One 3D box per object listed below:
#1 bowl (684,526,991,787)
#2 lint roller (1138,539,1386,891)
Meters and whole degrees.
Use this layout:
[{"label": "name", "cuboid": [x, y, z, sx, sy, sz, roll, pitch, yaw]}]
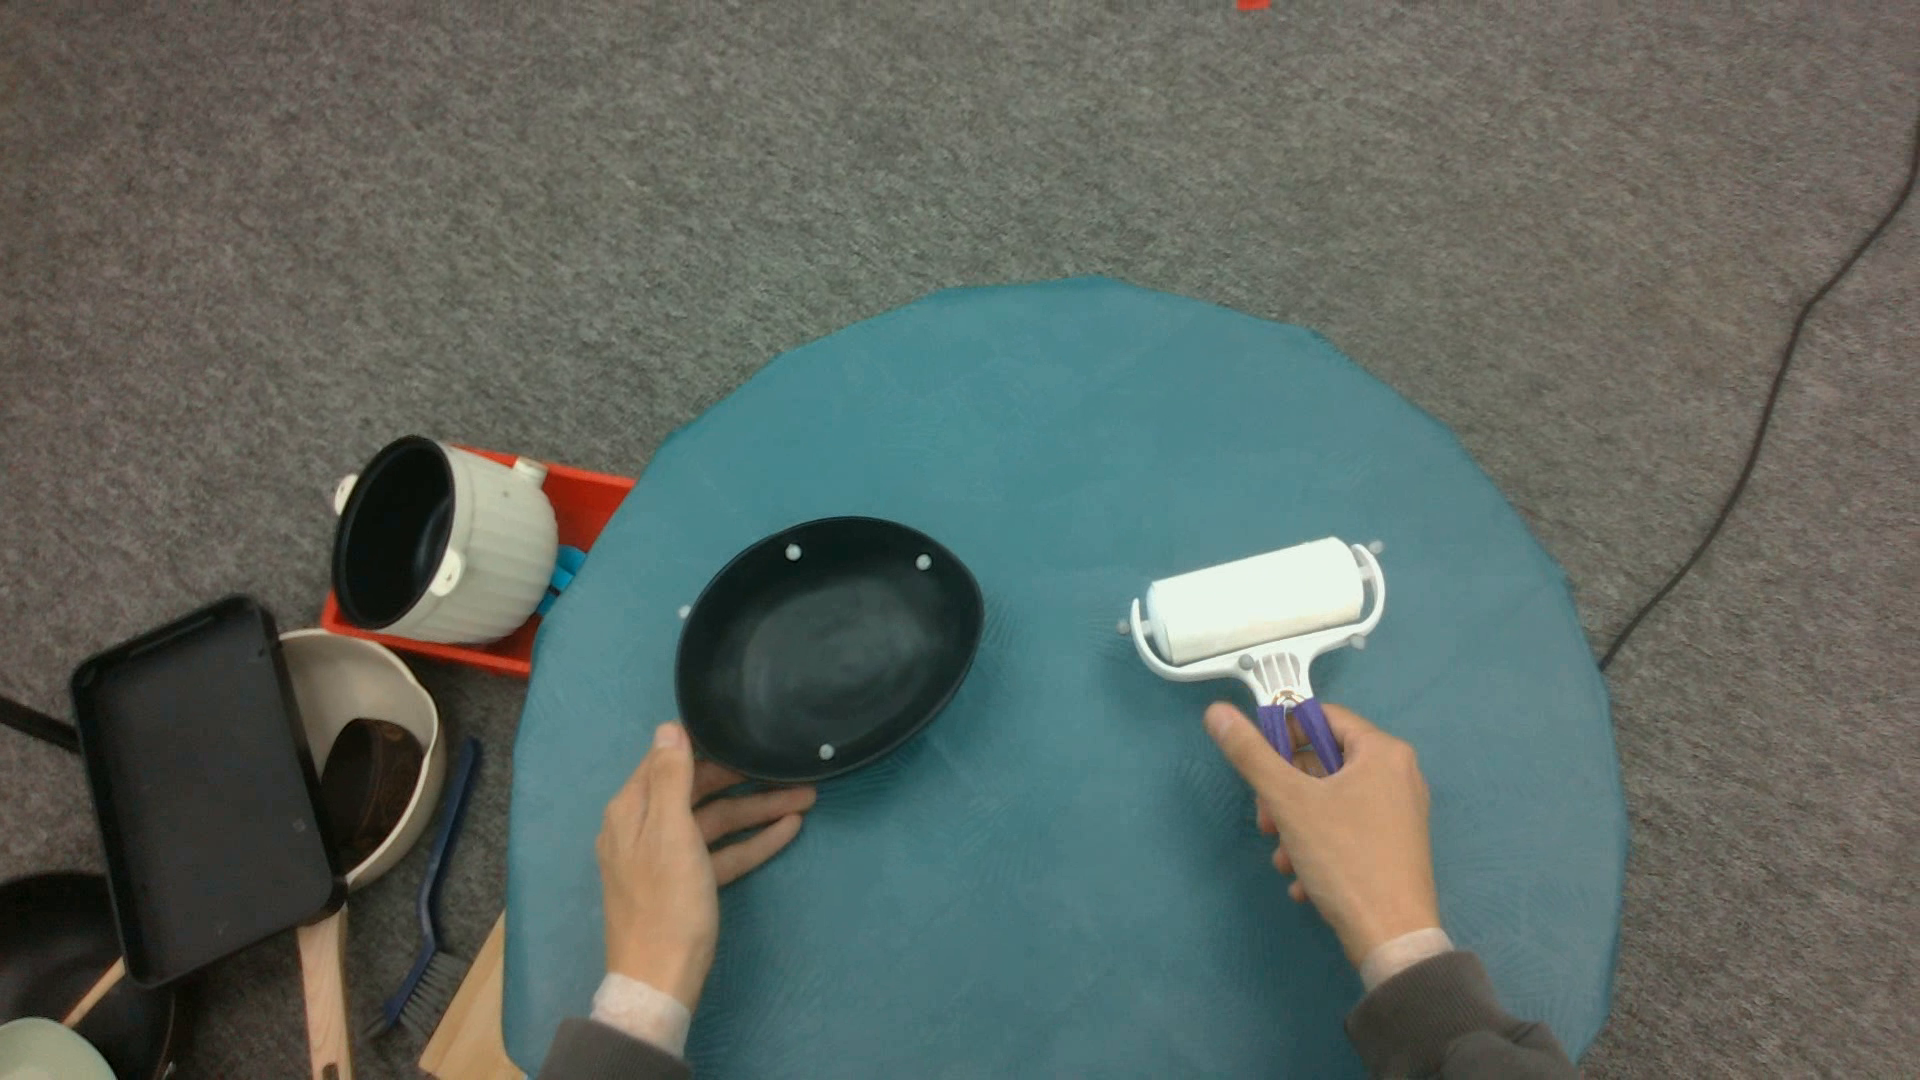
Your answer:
[{"label": "bowl", "cuboid": [-0.065, 0.067, 0.757, 0.170, 0.066, 0.137, -29, 70, -10]}, {"label": "lint roller", "cuboid": [0.171, 0.089, 0.708, 0.133, 0.050, 0.181, -13, 55, 5]}]
